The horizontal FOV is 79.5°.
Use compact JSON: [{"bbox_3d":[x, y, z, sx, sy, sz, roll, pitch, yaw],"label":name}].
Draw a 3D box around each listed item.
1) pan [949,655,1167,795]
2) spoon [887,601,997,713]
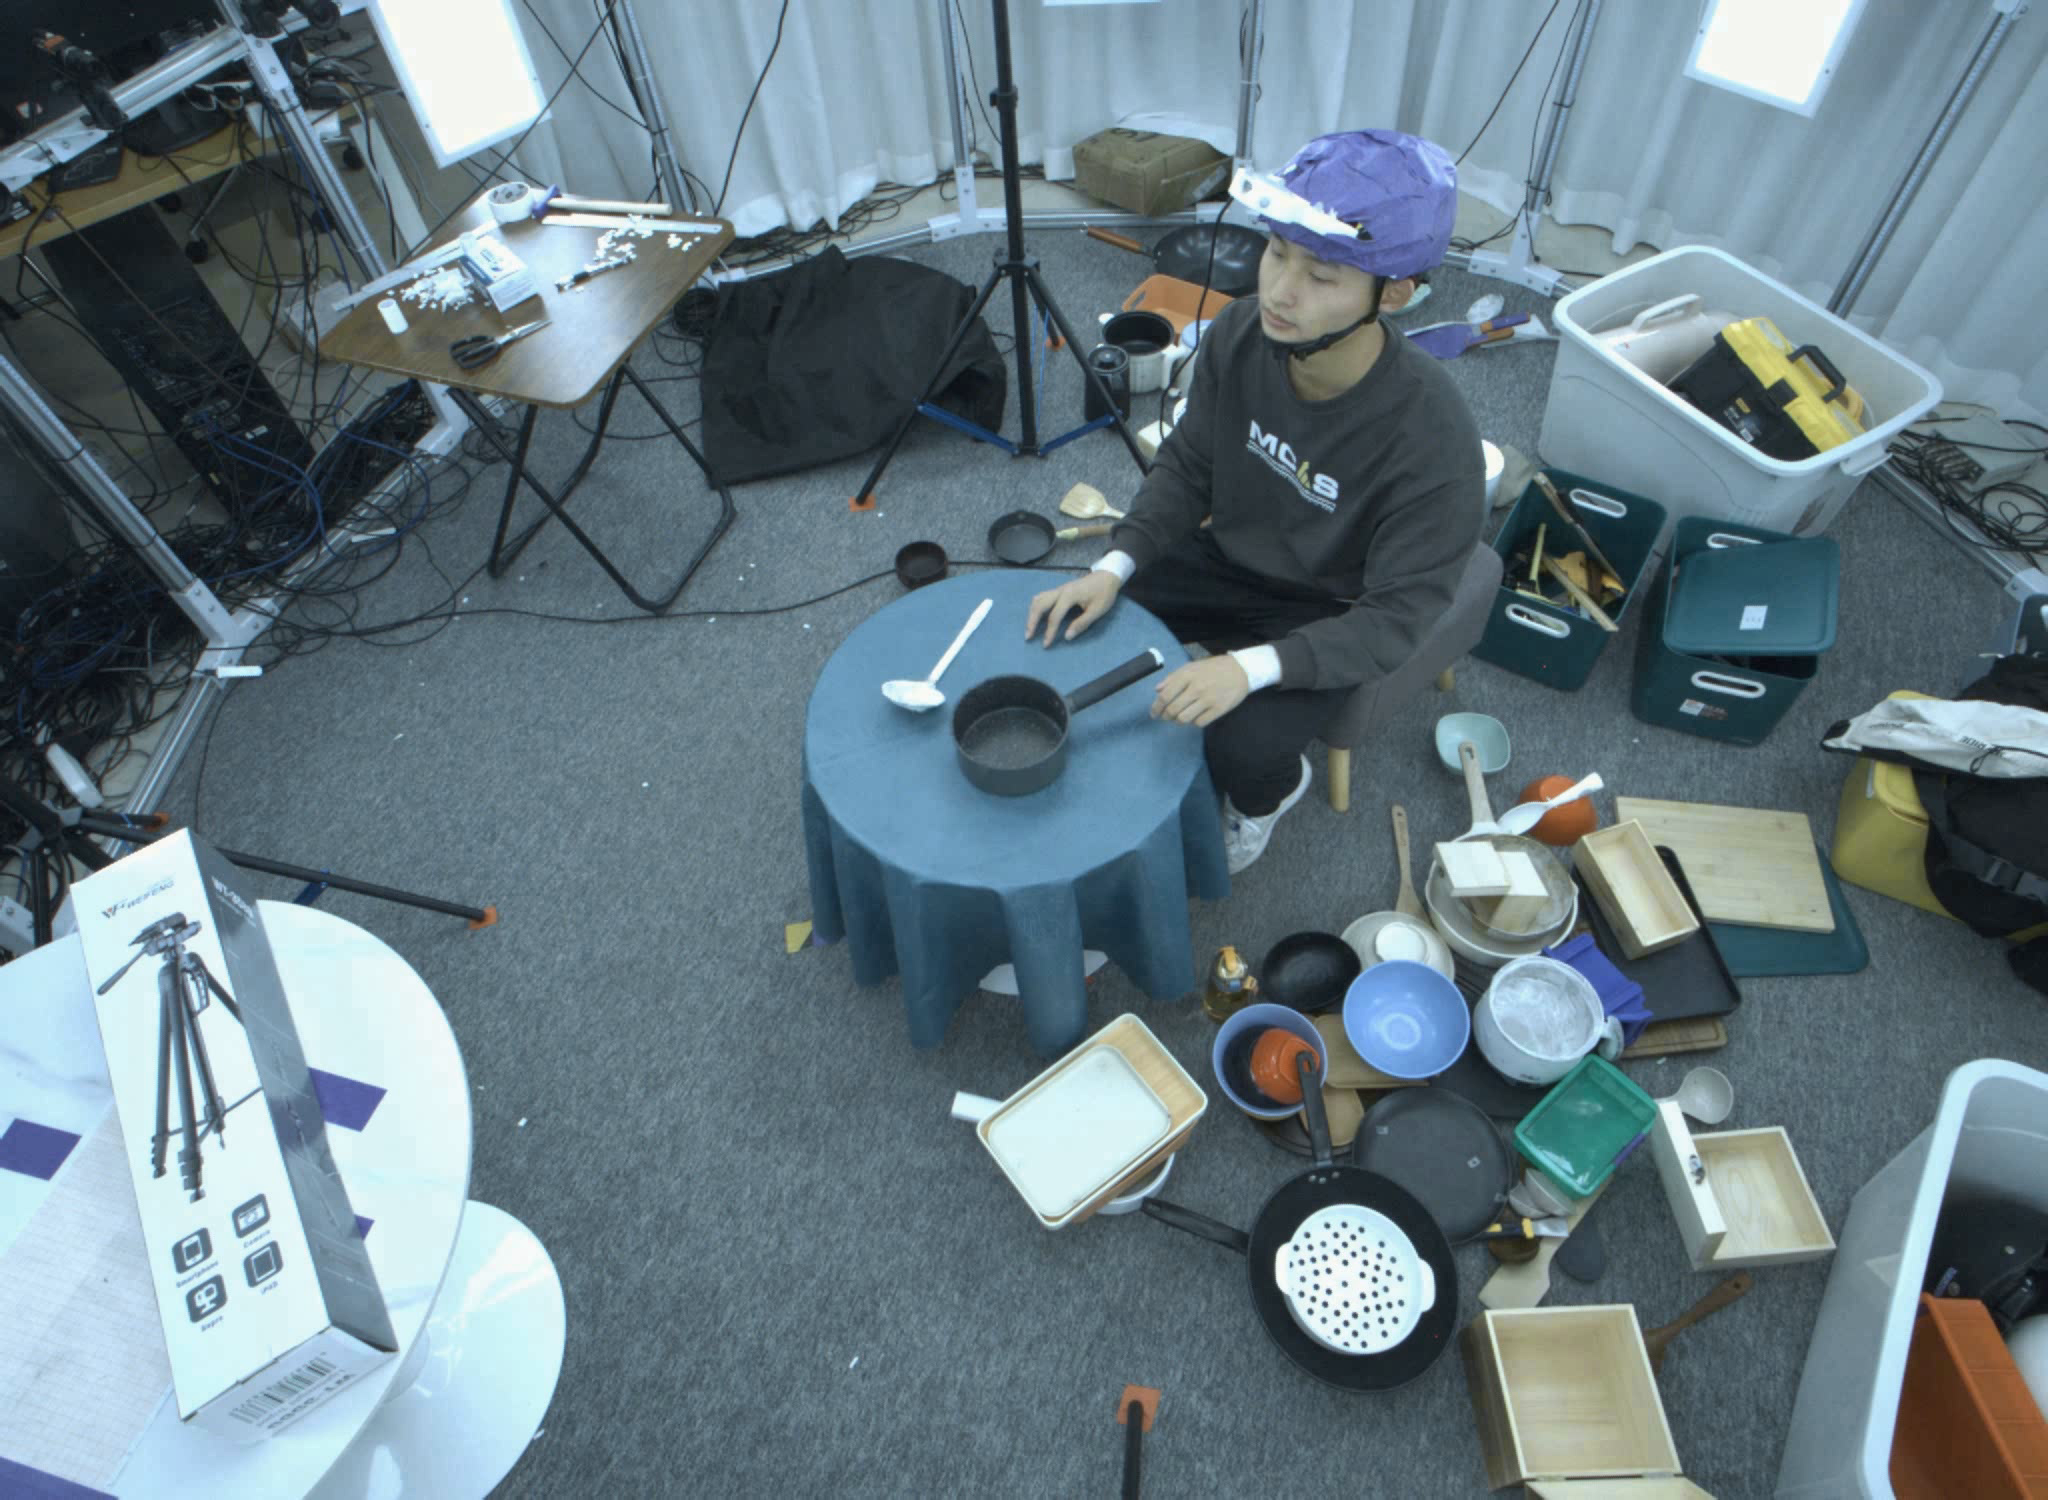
[{"bbox_3d":[0.054,-0.050,1.778,0.331,0.087,0.169,-21,57,-12],"label":"pan"},{"bbox_3d":[-0.108,-0.150,1.879,0.100,0.059,0.278,29,59,9],"label":"spoon"}]
